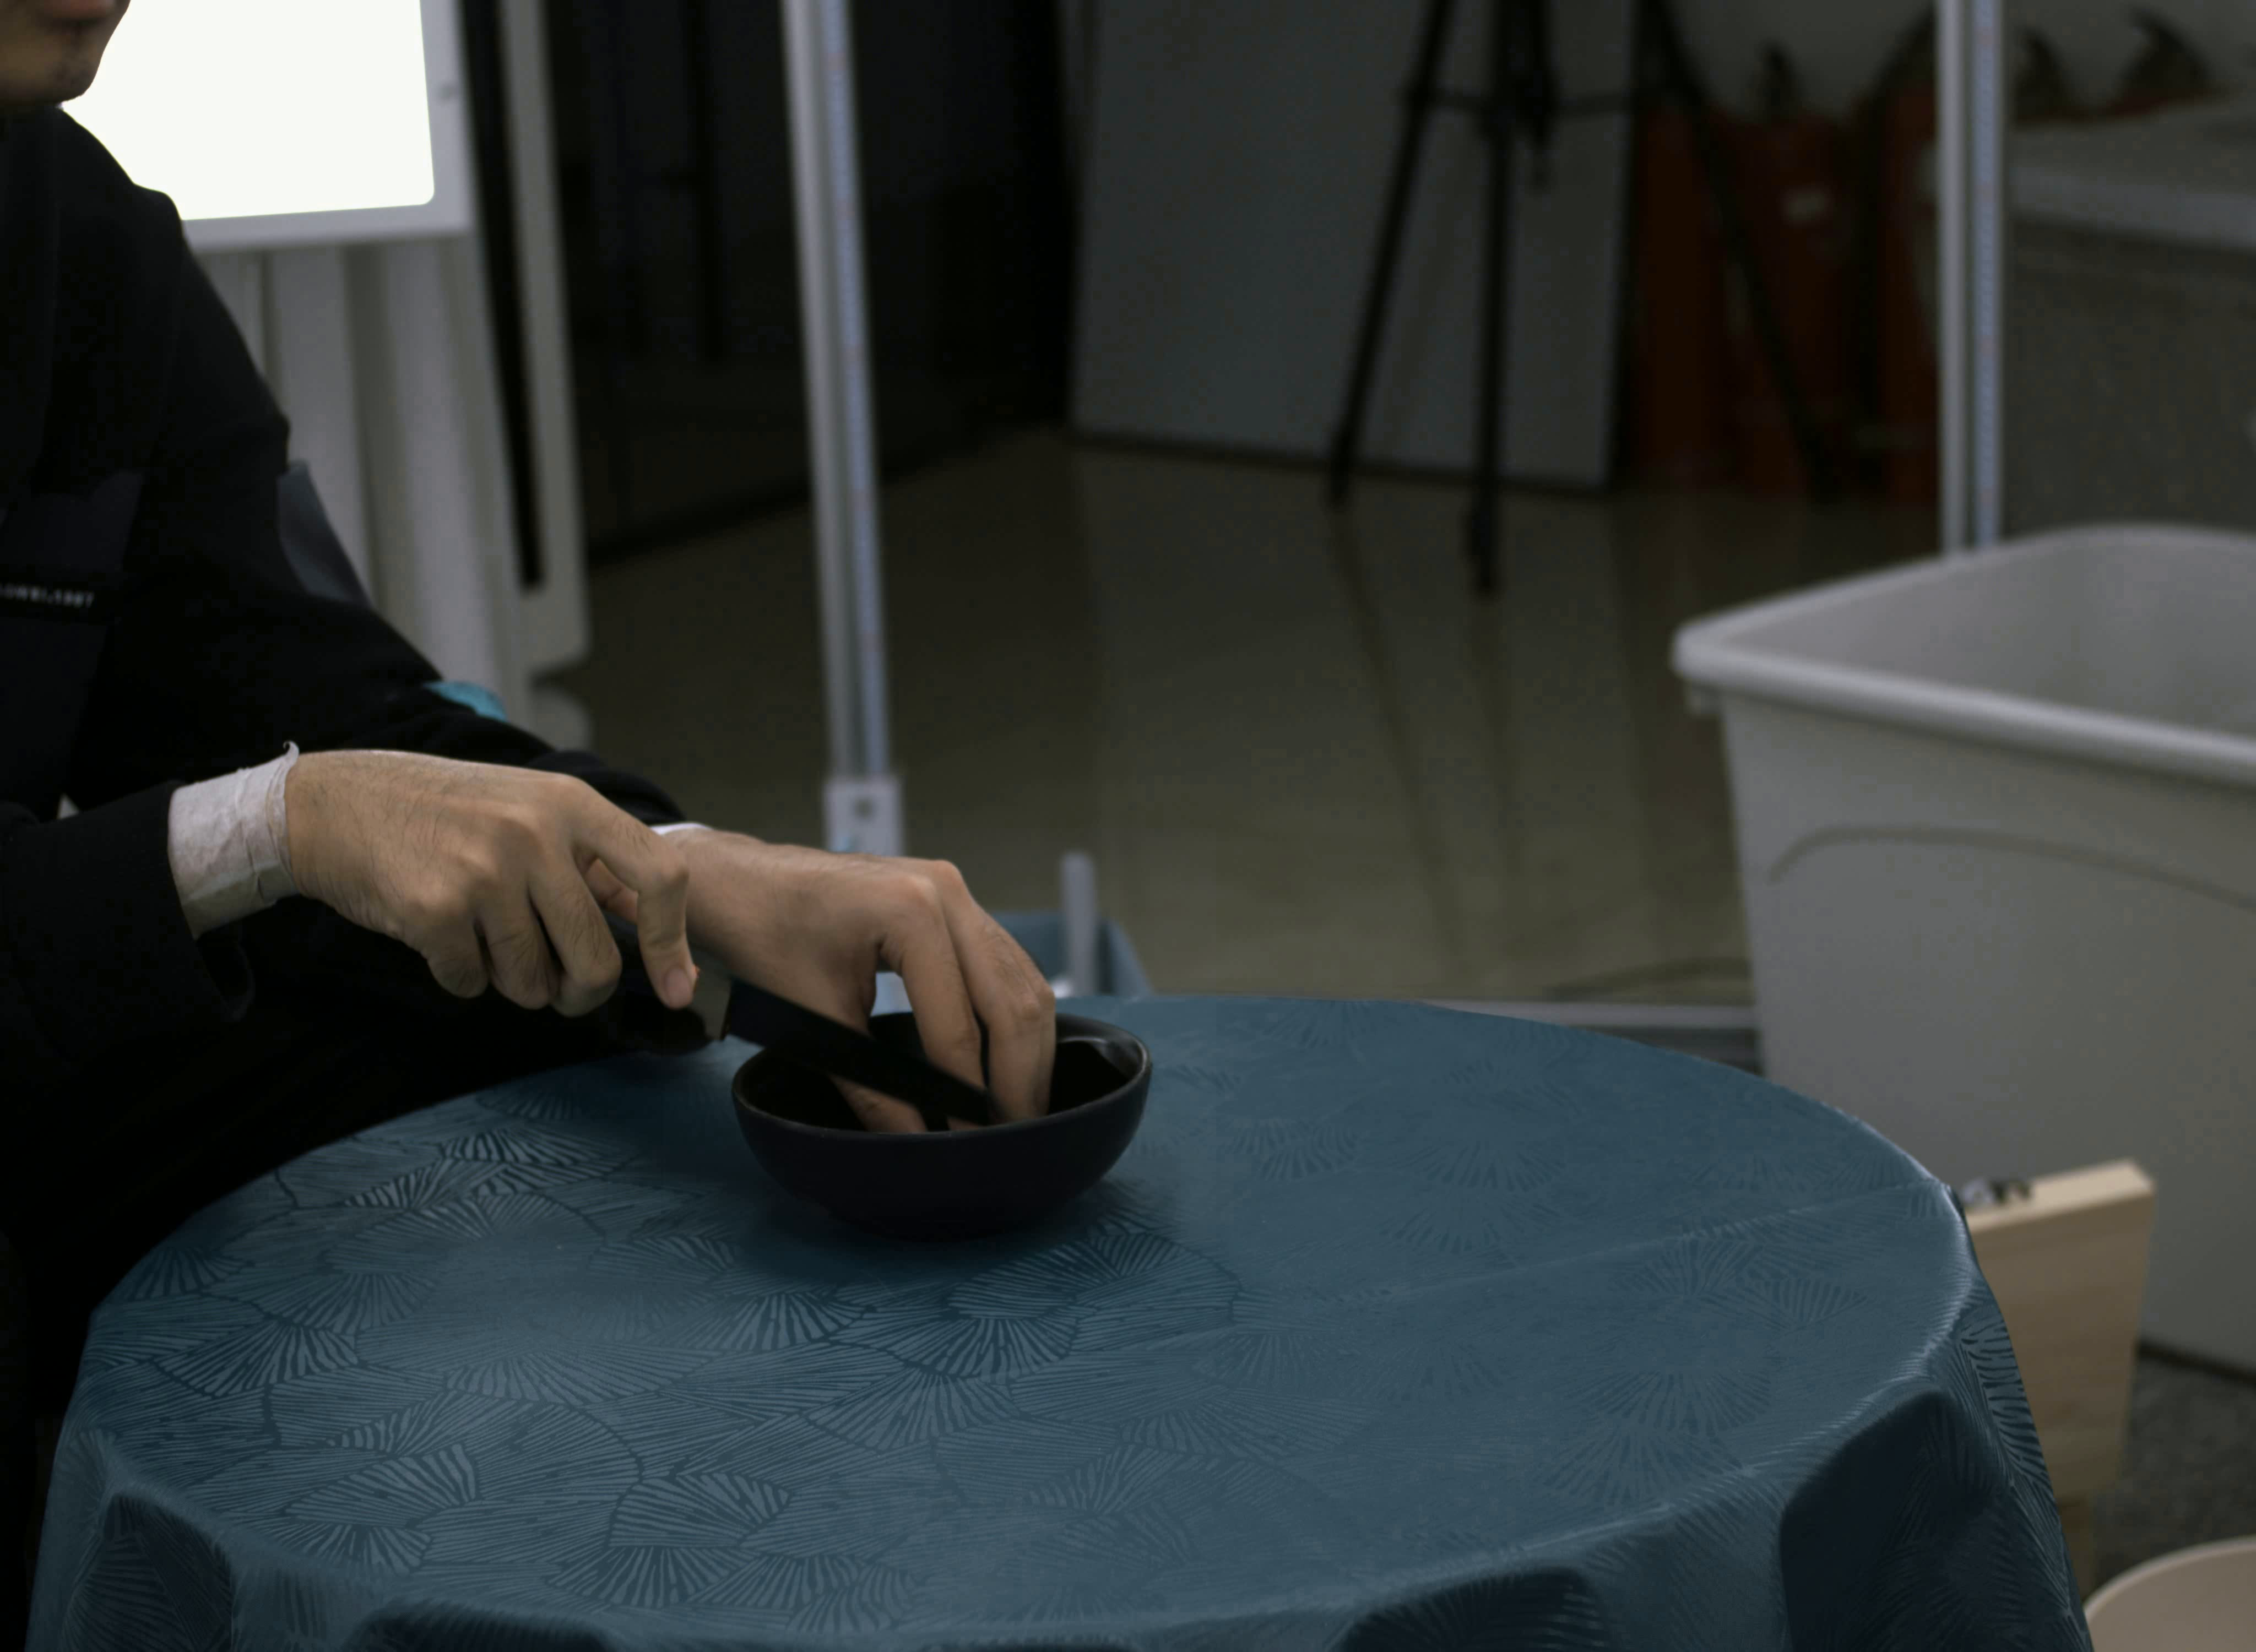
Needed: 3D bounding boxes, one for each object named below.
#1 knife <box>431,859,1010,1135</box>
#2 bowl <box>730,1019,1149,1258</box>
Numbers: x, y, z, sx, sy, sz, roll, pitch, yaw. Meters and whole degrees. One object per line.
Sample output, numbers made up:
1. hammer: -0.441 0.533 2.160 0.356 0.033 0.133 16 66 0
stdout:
1. knife: -0.124 0.060 1.750 0.224 0.026 0.017 23 29 8
2. bowl: -0.058 0.106 1.758 0.138 0.050 0.140 -8 13 1
